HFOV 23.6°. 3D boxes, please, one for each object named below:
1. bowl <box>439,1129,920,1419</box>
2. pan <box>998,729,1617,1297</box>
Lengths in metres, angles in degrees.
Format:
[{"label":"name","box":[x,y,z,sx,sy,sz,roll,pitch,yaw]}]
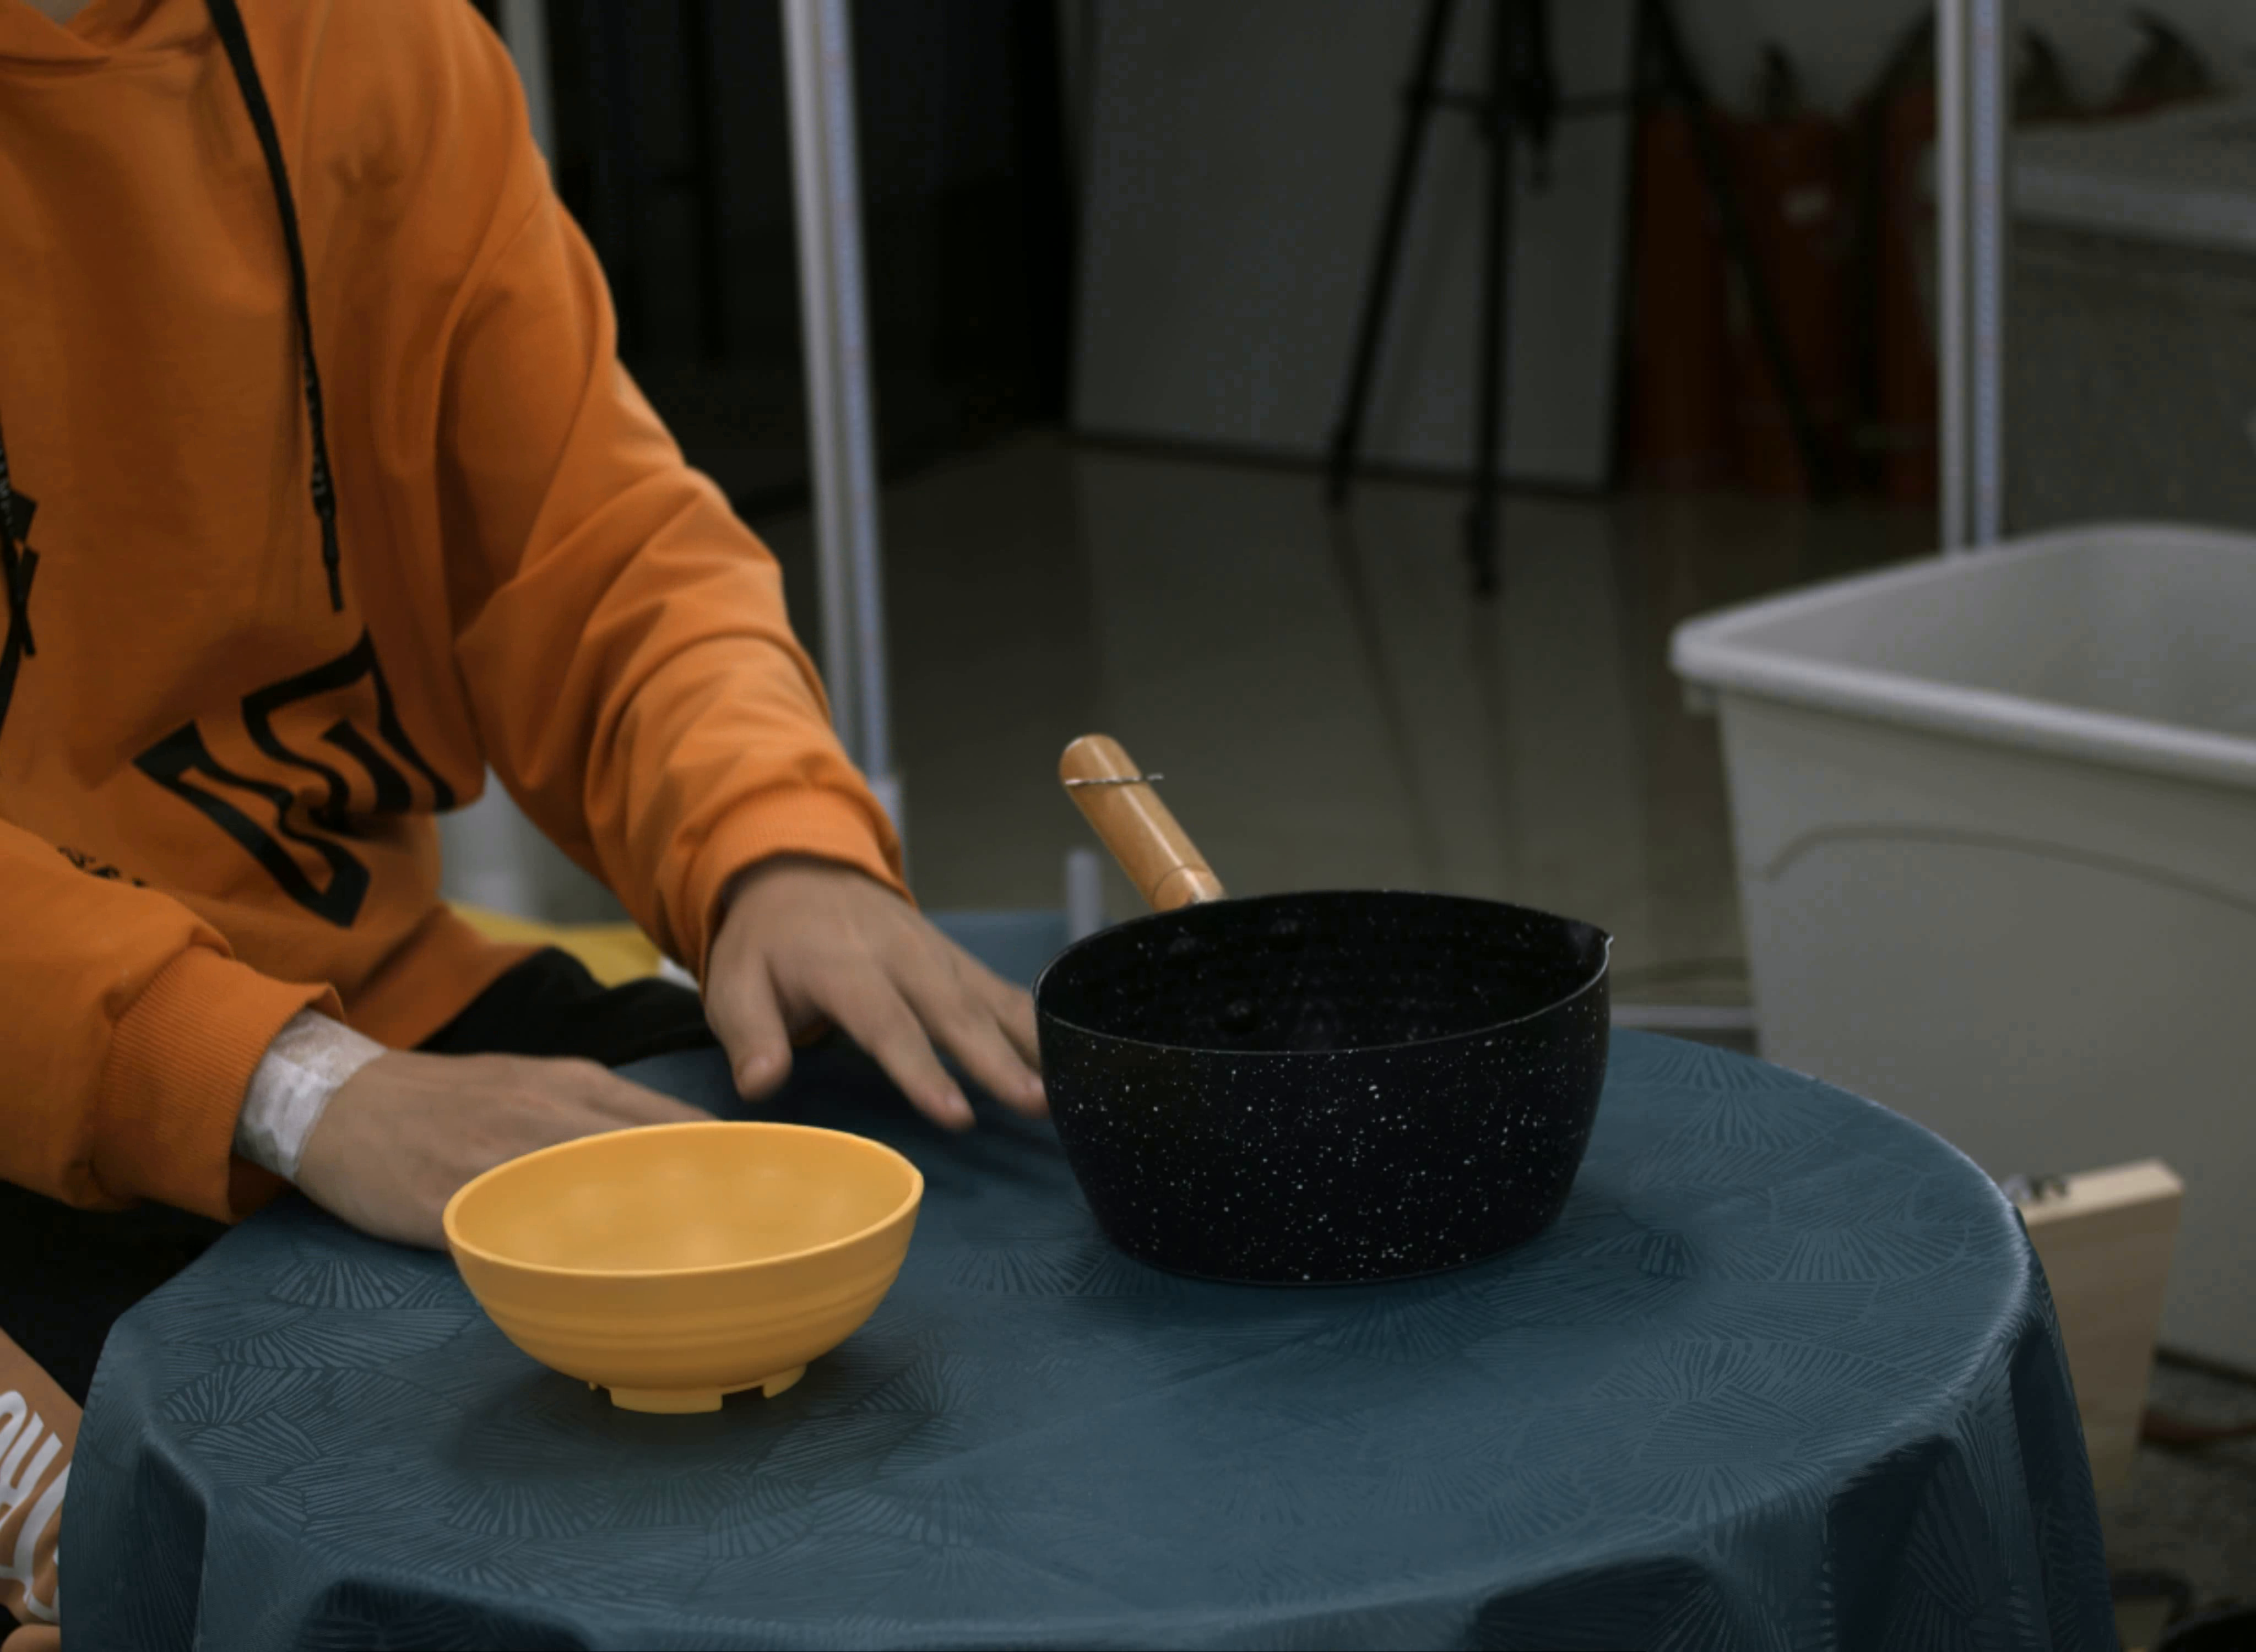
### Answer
[{"label":"bowl","box":[-0.132,0.138,1.617,0.143,0.061,0.145,-3,13,0]},{"label":"pan","box":[0.038,0.056,1.795,0.203,0.109,0.346,-10,16,-16]}]
